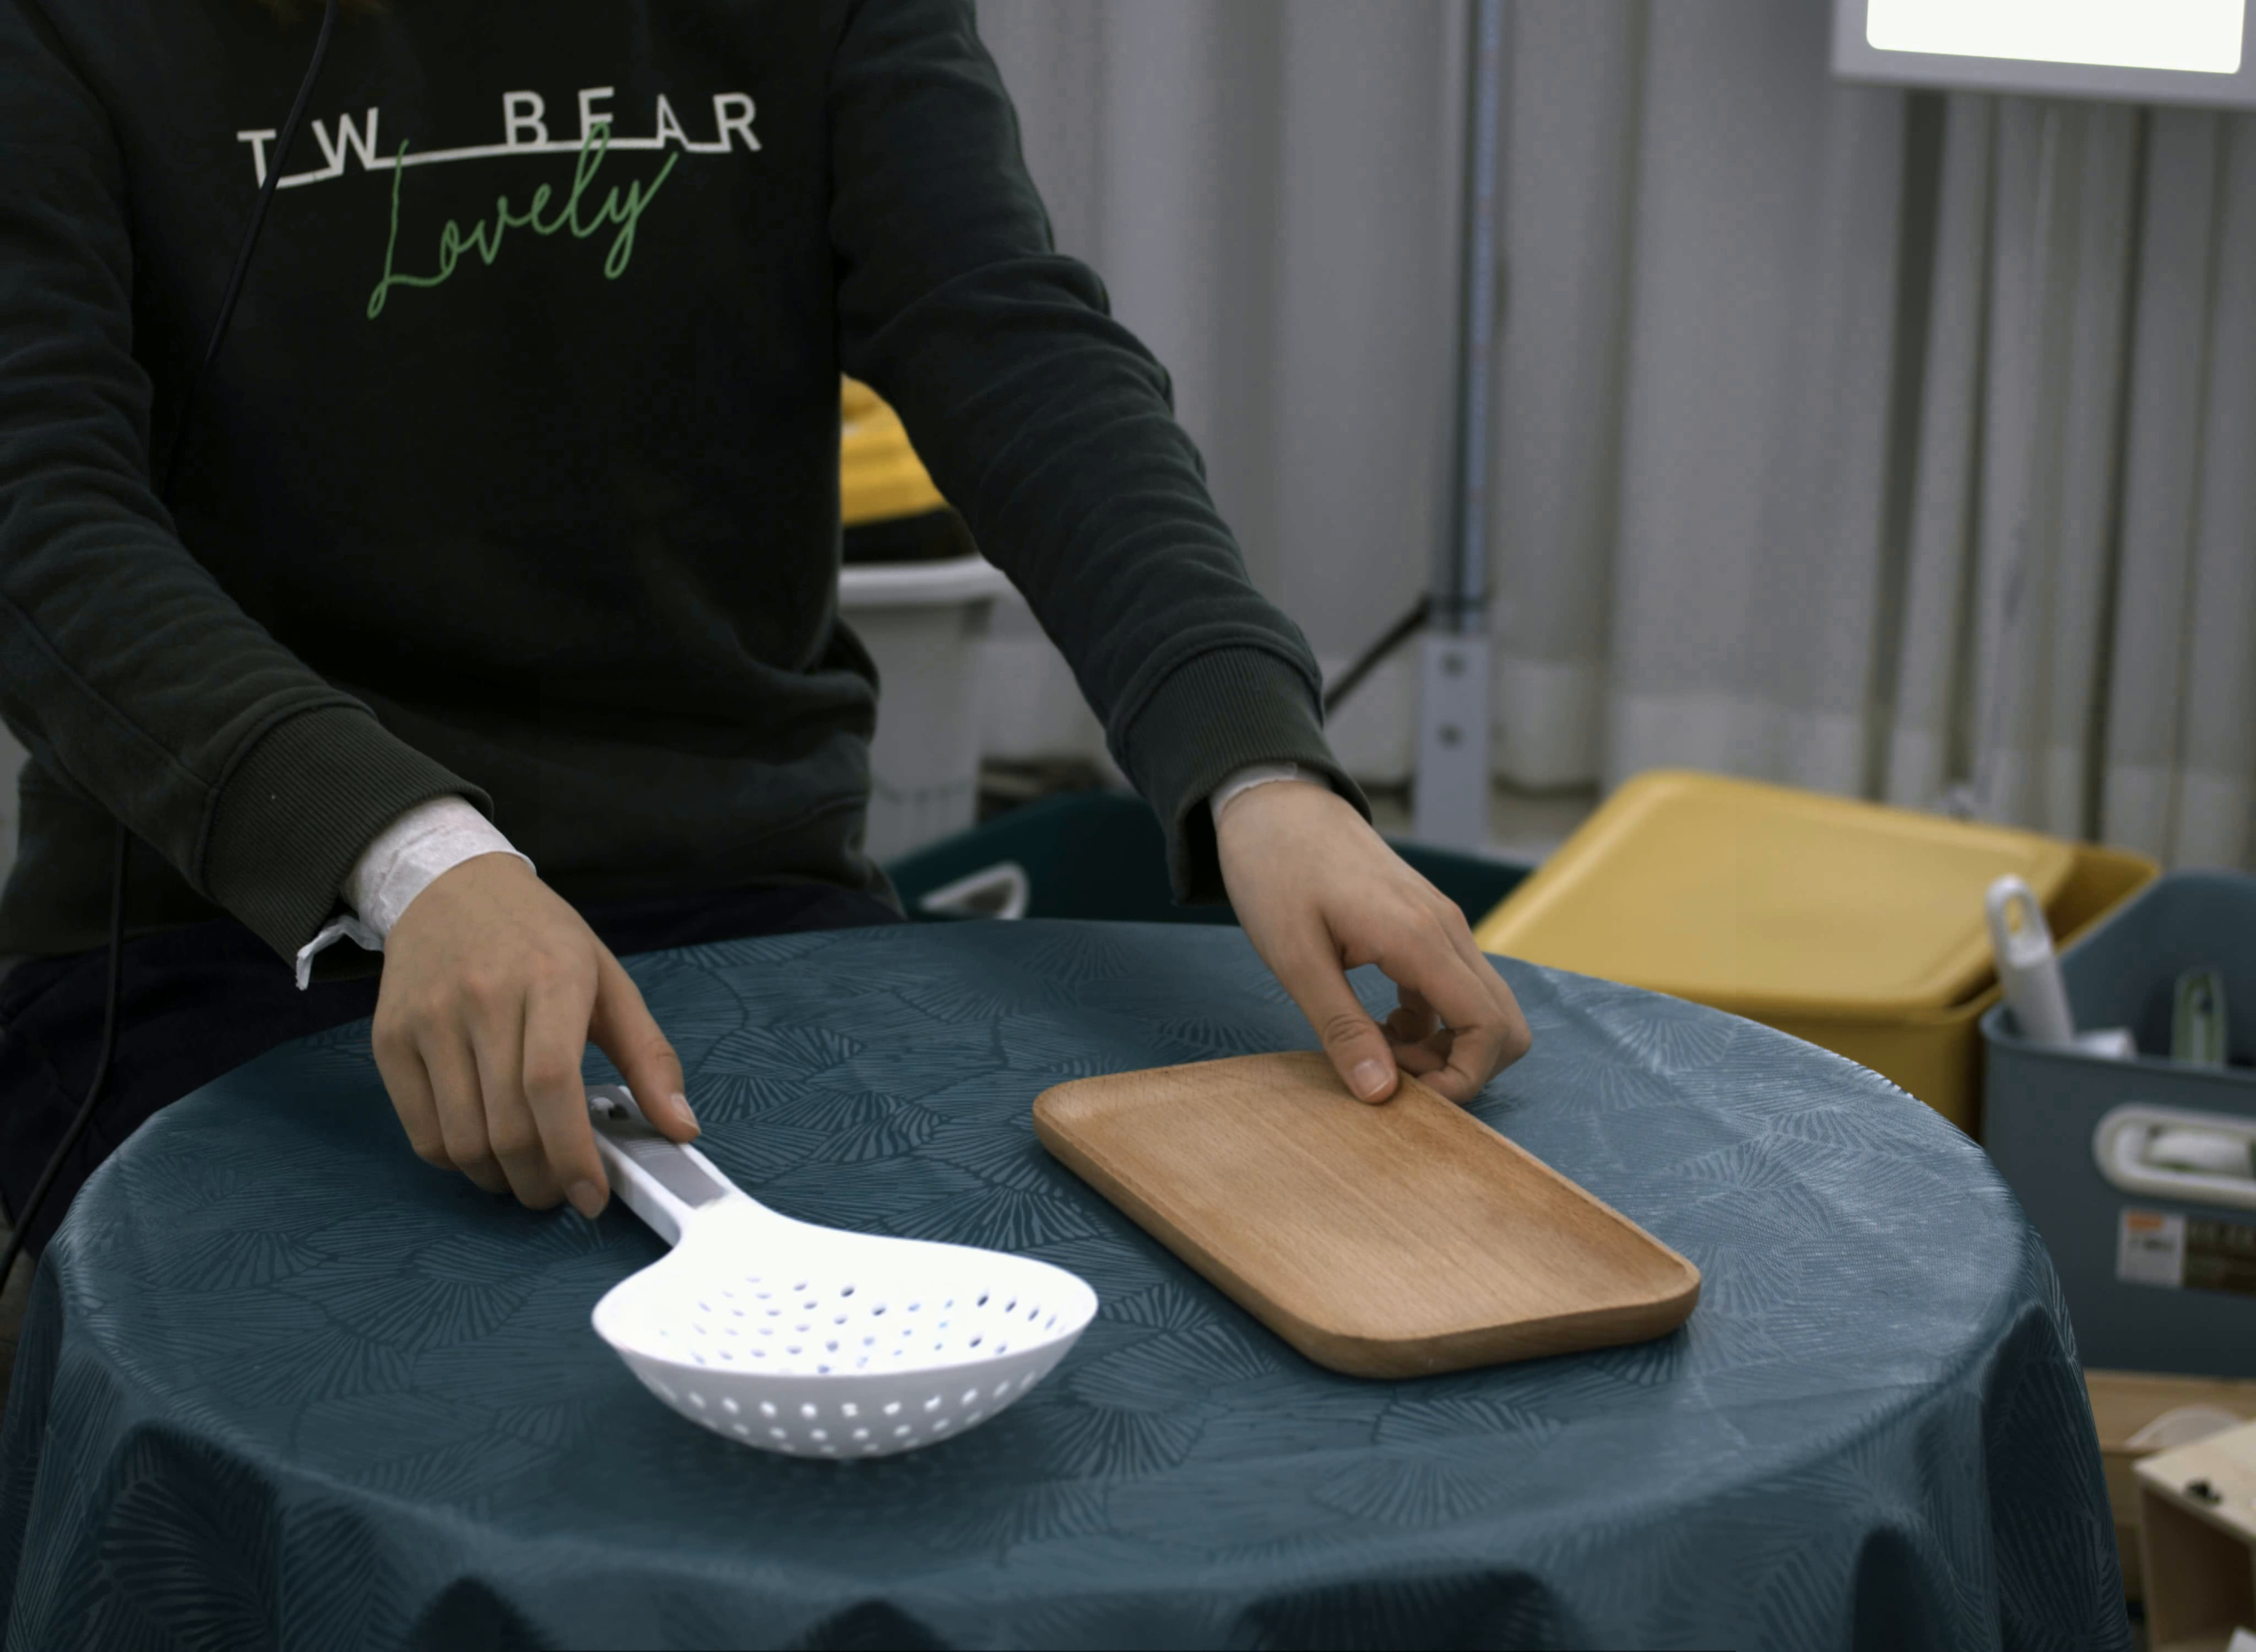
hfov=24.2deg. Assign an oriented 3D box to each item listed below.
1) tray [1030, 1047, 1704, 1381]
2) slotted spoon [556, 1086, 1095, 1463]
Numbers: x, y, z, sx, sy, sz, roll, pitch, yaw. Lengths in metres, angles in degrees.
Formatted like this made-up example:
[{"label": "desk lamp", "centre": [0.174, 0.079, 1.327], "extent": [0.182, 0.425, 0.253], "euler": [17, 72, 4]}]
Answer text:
[{"label": "tray", "centre": [0.067, 0.114, 1.593], "extent": [0.131, 0.023, 0.248], "euler": [-4, 15, -23]}, {"label": "slotted spoon", "centre": [-0.113, 0.119, 1.515], "extent": [0.136, 0.046, 0.346], "euler": [-3, 15, -20]}]
